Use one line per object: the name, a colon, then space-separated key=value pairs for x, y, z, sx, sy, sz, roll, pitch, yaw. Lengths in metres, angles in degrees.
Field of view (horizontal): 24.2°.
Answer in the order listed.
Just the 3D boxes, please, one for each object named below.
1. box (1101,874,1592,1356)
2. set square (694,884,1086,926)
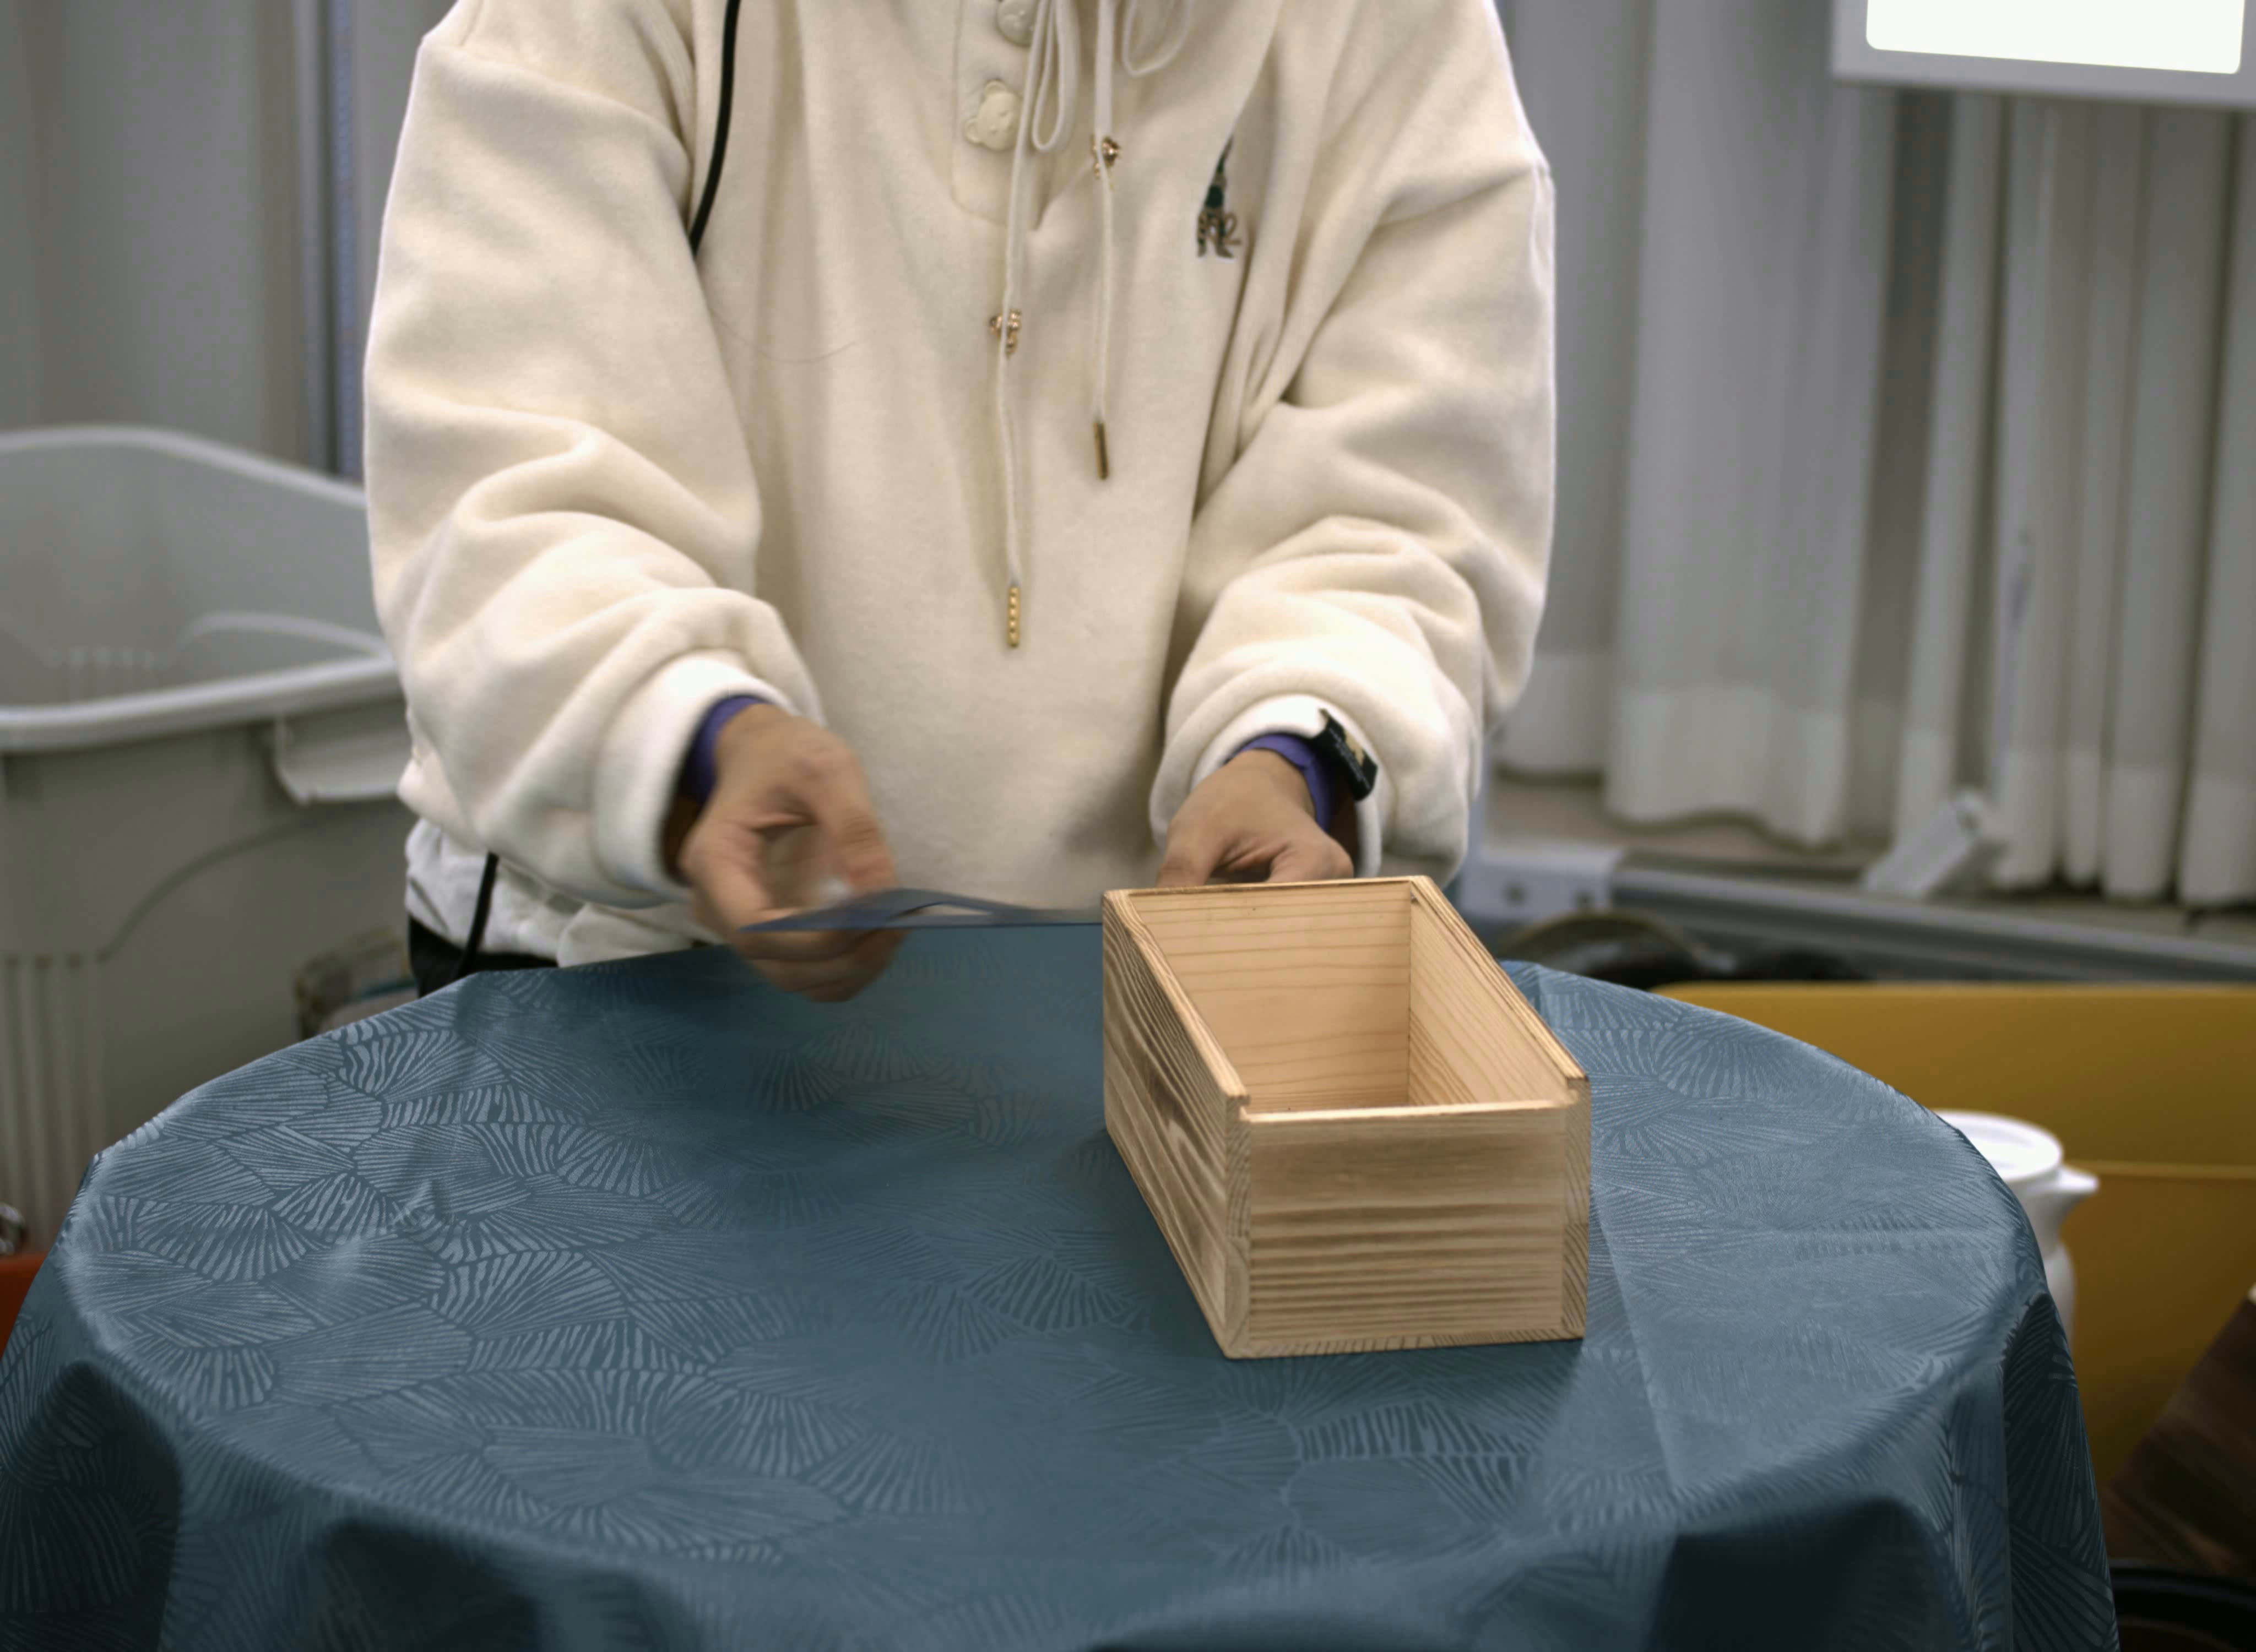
box: x=0.061 y=0.082 z=1.581 sx=0.107 sy=0.081 sz=0.209 roll=-2 pitch=16 yaw=-10
set square: x=-0.083 y=0.023 z=1.667 sx=0.133 sy=0.006 sz=0.060 roll=1 pitch=11 yaw=-28
